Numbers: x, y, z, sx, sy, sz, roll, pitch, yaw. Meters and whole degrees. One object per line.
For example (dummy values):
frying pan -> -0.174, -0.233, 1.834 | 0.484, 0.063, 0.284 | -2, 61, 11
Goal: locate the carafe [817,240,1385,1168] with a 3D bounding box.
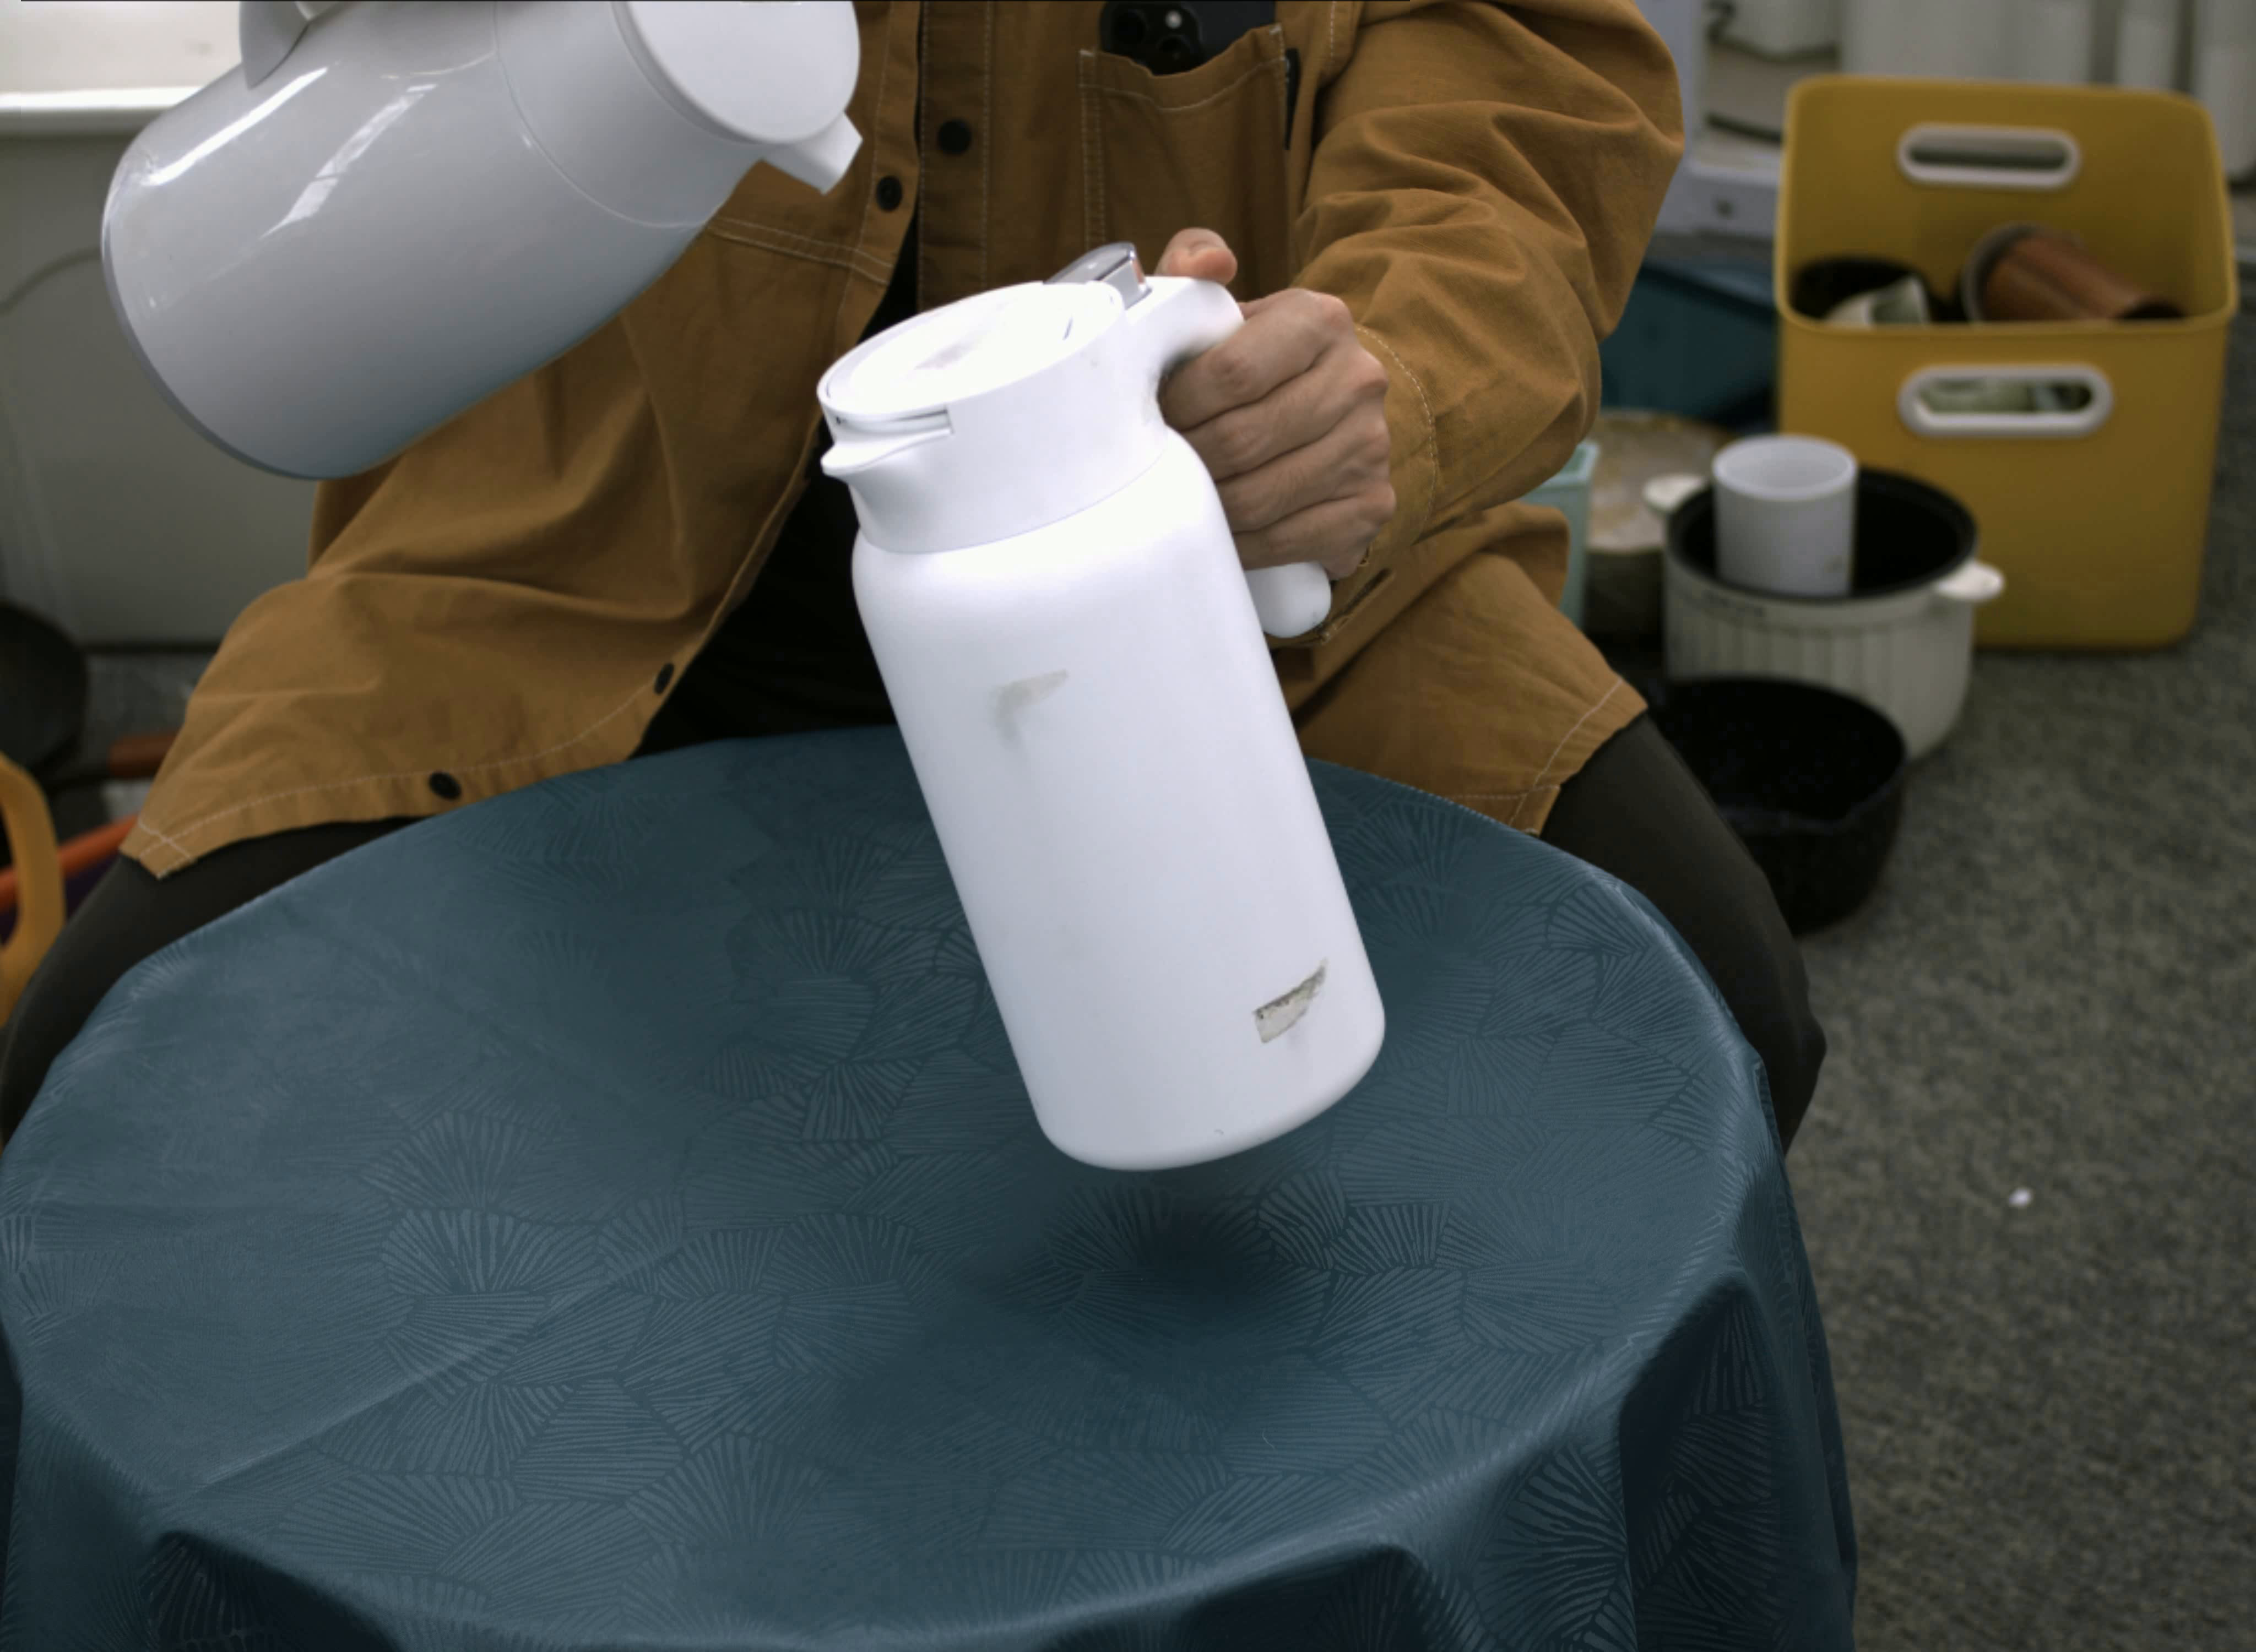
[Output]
carafe -> 0.000, -0.042, 1.770 | 0.122, 0.267, 0.175 | -1, 26, 44

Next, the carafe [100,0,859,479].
carafe -> -0.207, -0.223, 1.738 | 0.245, 0.167, 0.135 | -26, 30, 41
